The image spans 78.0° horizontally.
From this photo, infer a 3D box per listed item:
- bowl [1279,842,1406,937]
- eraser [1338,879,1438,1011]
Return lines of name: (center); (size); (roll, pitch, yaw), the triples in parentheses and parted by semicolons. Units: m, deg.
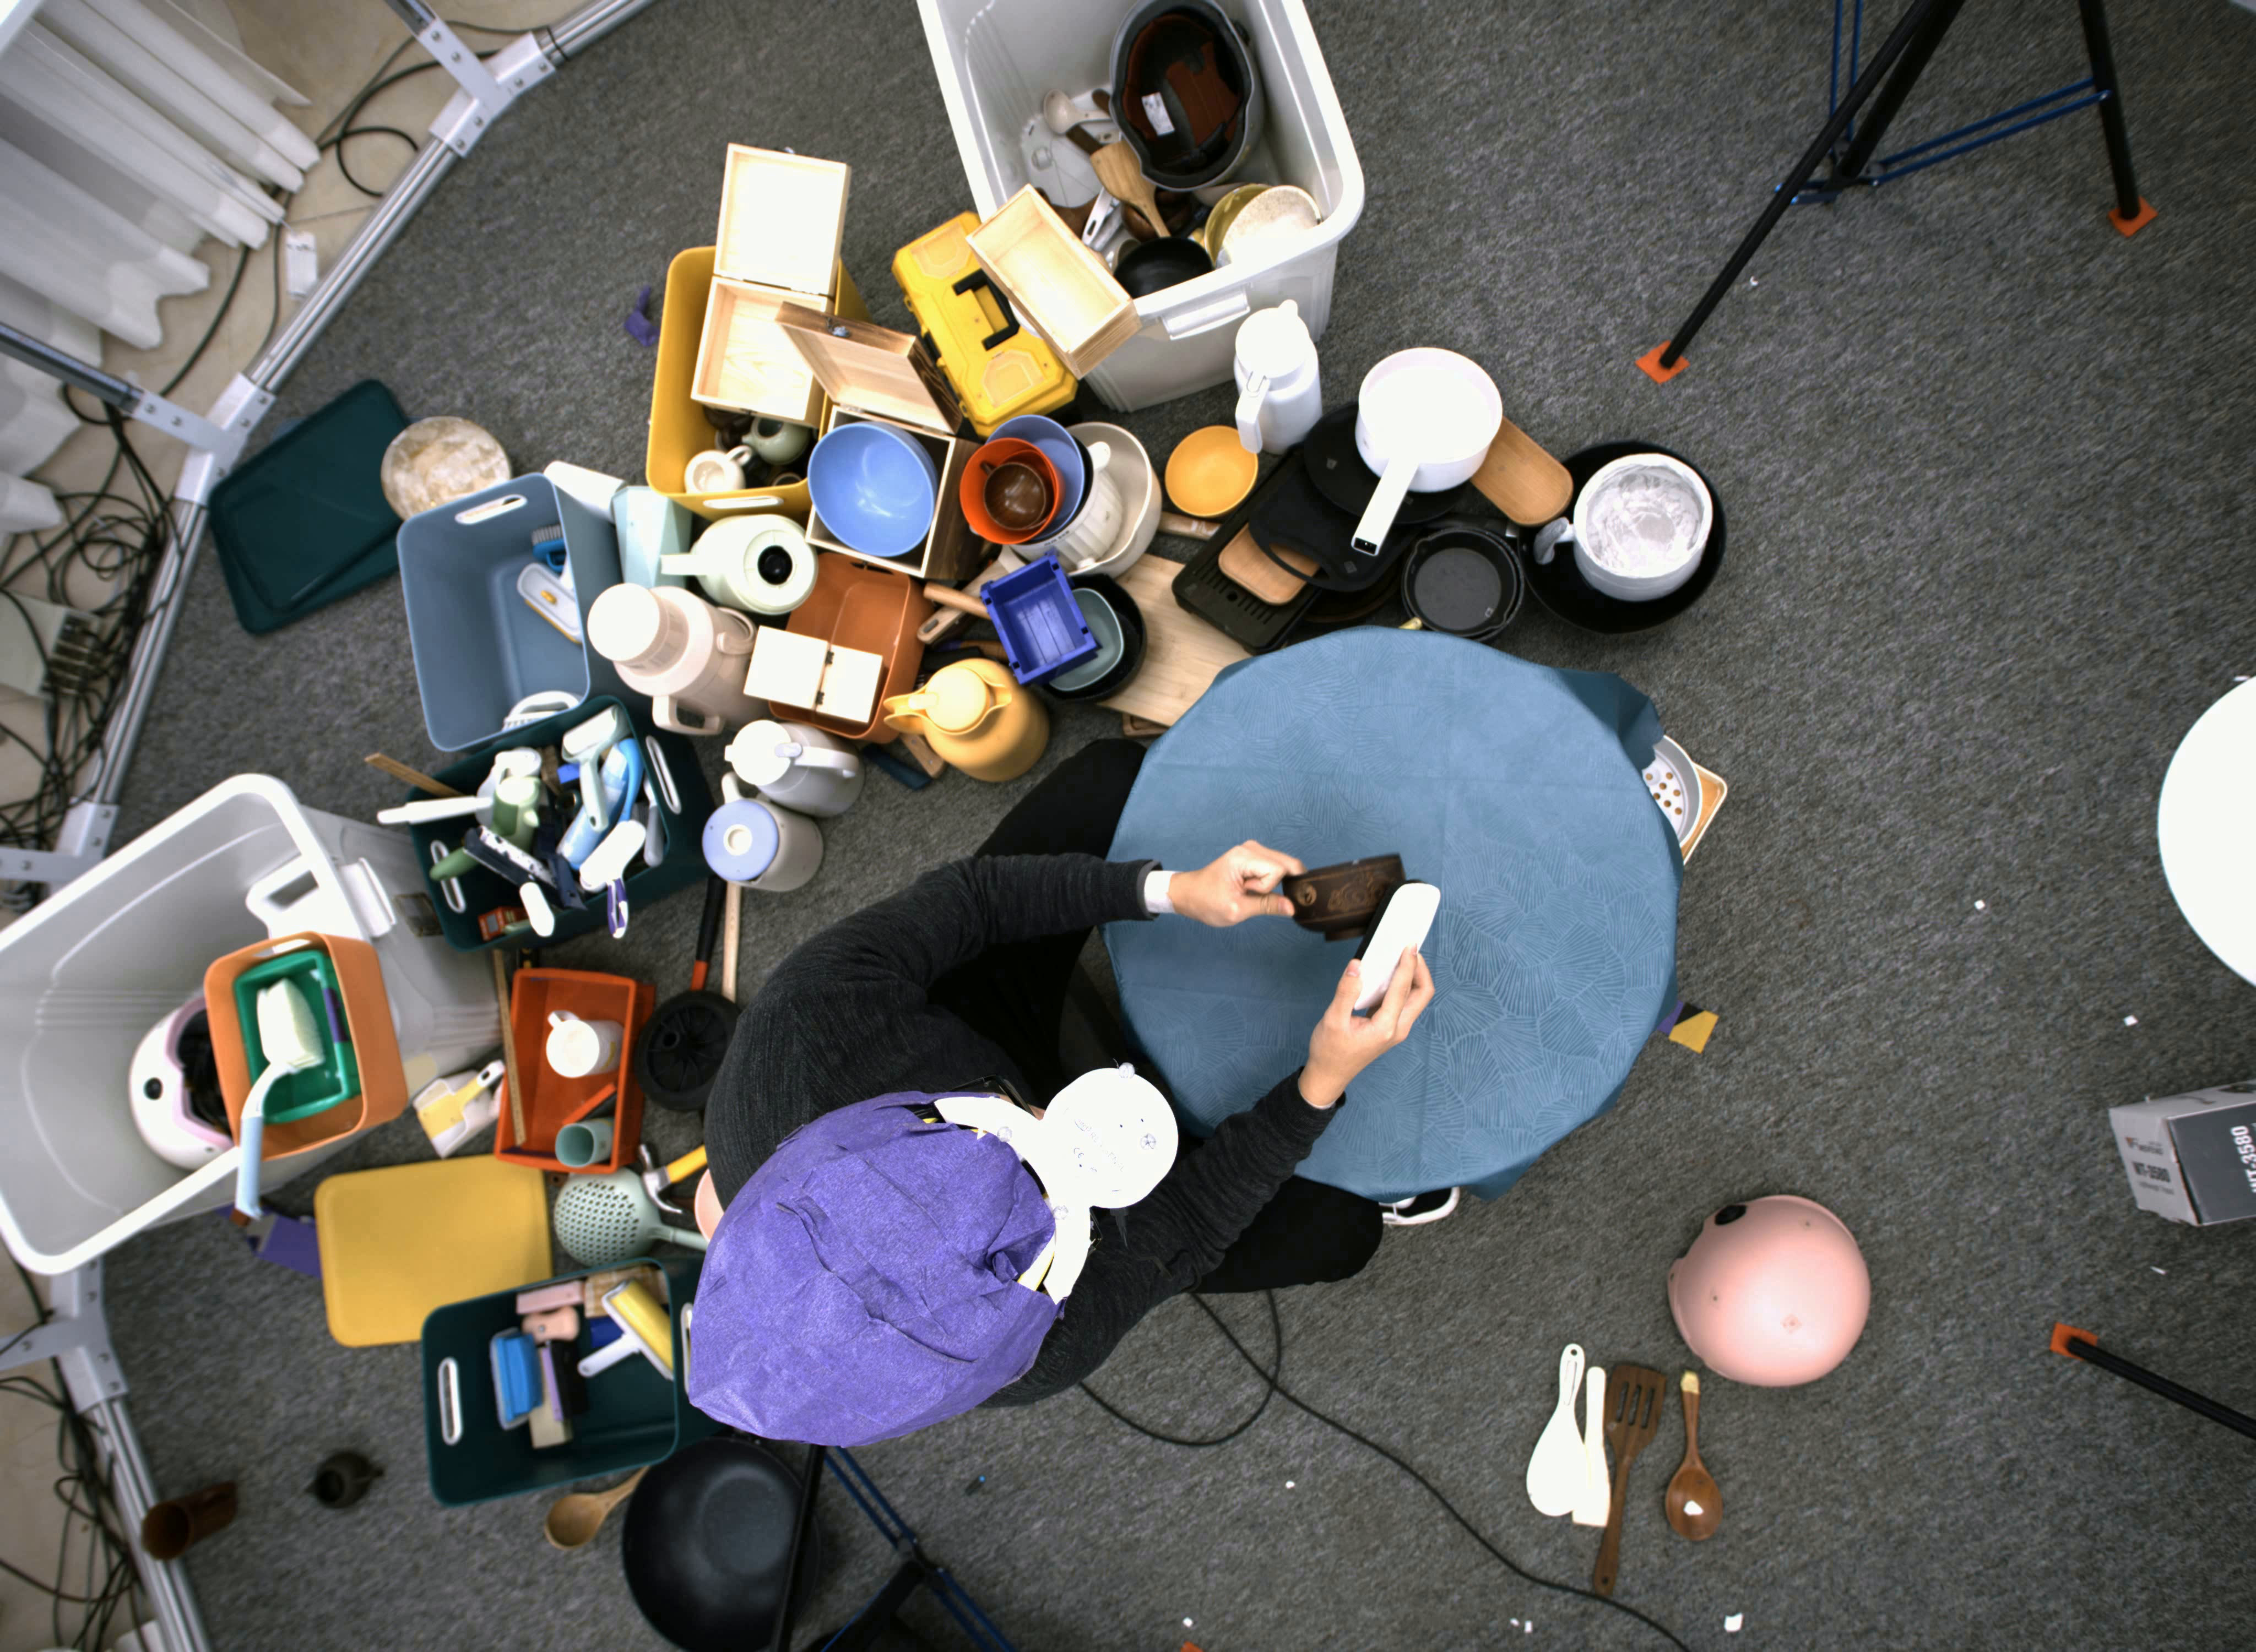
bowl: (0.208, 0.063, 1.314); (0.118, 0.117, 0.070); (-17, 95, 8)
eraser: (0.240, 0.110, 1.273); (0.034, 0.063, 0.133); (38, 117, 36)
